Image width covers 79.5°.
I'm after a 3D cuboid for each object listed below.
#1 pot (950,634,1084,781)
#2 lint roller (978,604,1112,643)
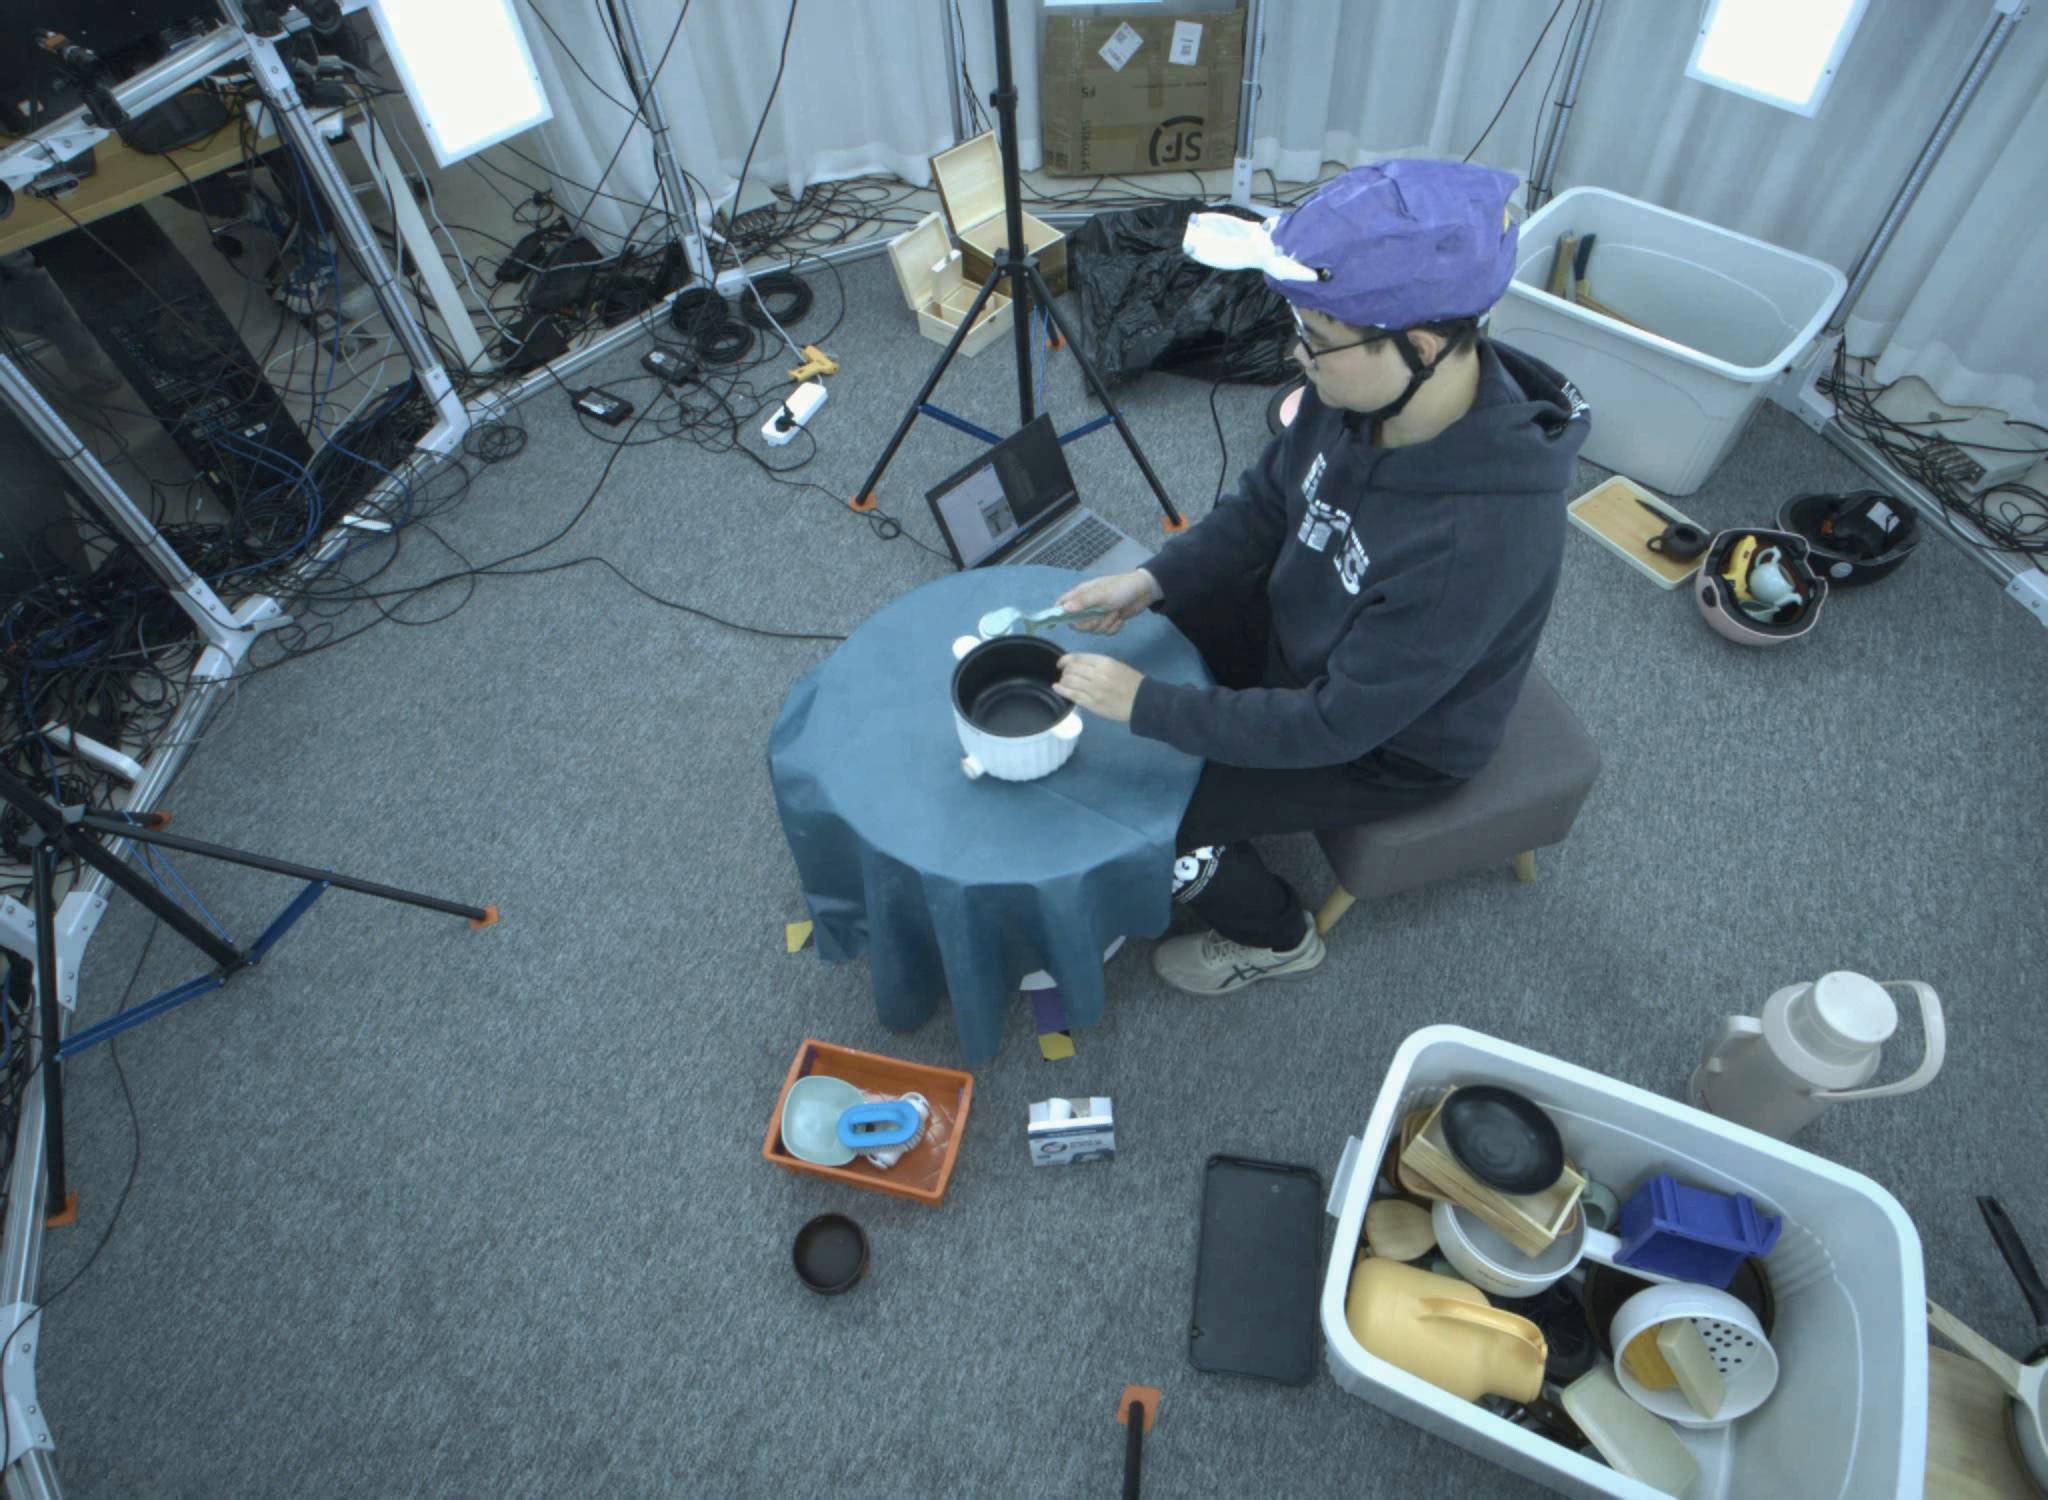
[{"bbox_3d":[-0.011,-0.049,1.737,0.236,0.144,0.192,37,61,26],"label":"pot"},{"bbox_3d":[0.030,-0.182,1.797,0.198,0.118,0.047,-22,56,-7],"label":"lint roller"}]
